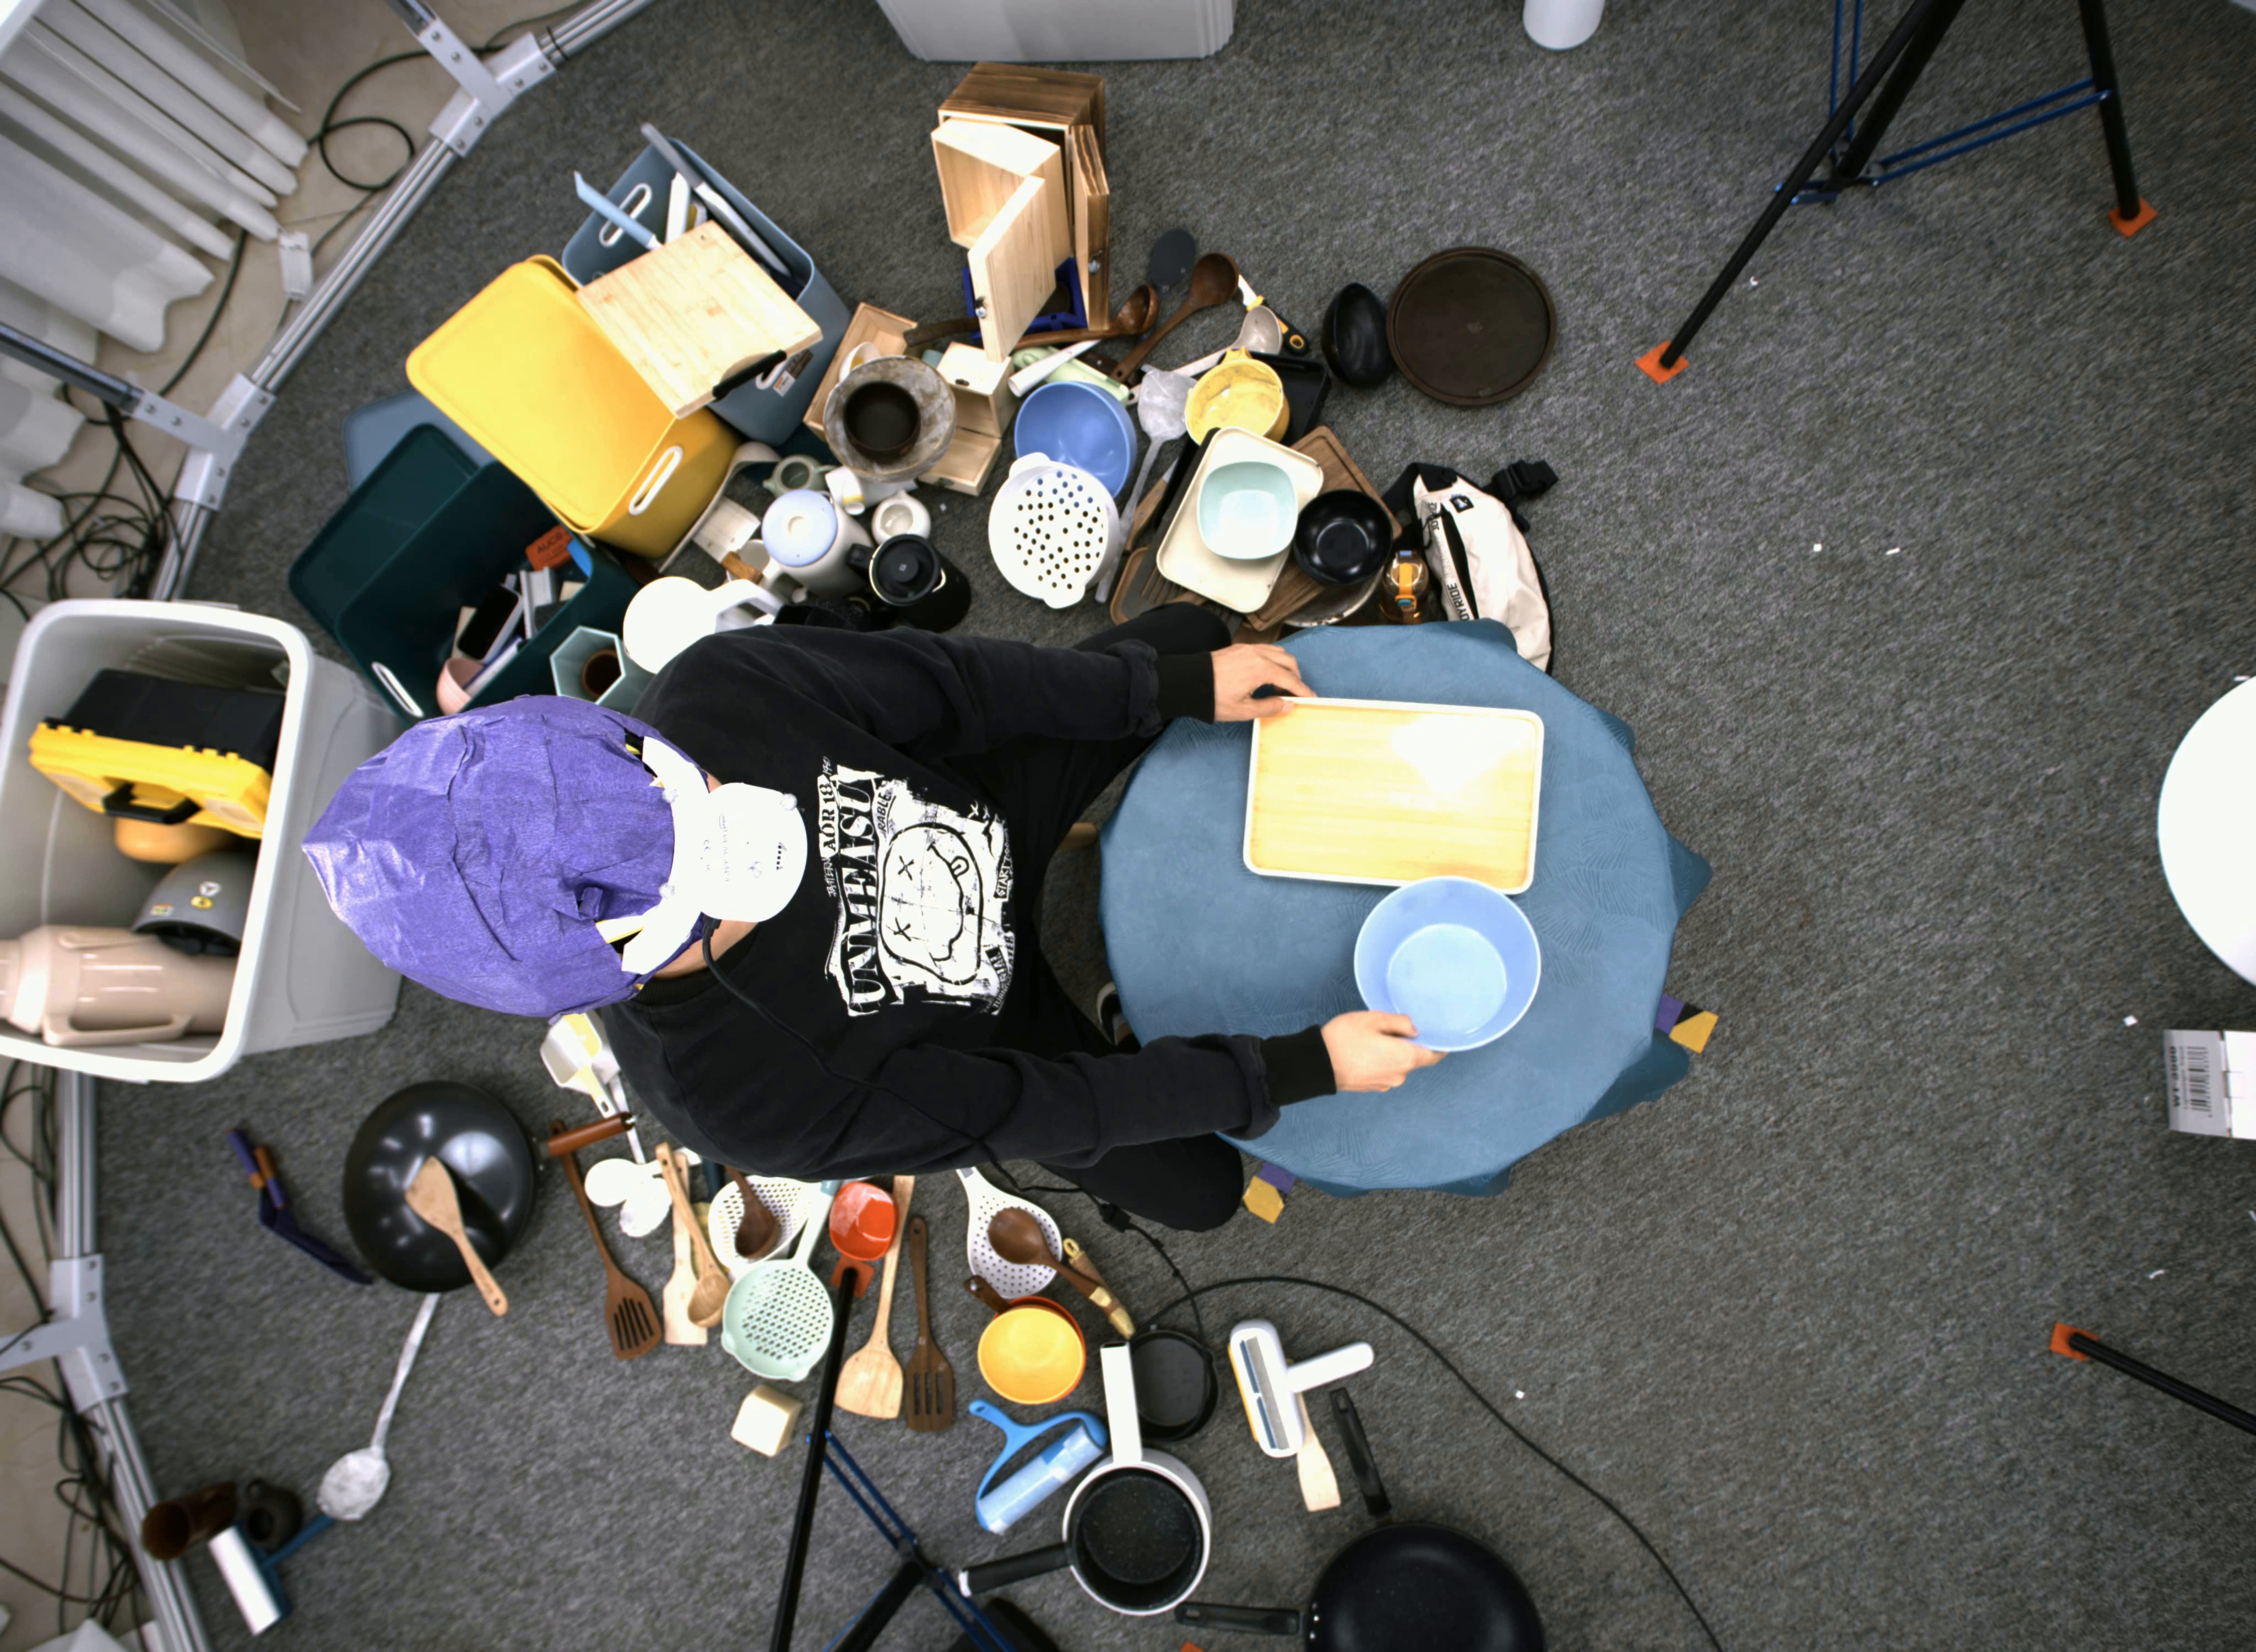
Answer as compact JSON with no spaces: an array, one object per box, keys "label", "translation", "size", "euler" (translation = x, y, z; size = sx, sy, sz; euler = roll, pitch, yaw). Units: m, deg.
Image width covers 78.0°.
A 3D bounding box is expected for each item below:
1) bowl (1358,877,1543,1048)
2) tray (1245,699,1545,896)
[{"label":"bowl","translation":[0.316,0.141,1.355],"size":[0.177,0.071,0.172],"euler":[-6,65,12]},{"label":"tray","translation":[0.279,-0.032,1.450],"size":[0.301,0.027,0.191],"euler":[4,91,10]}]
